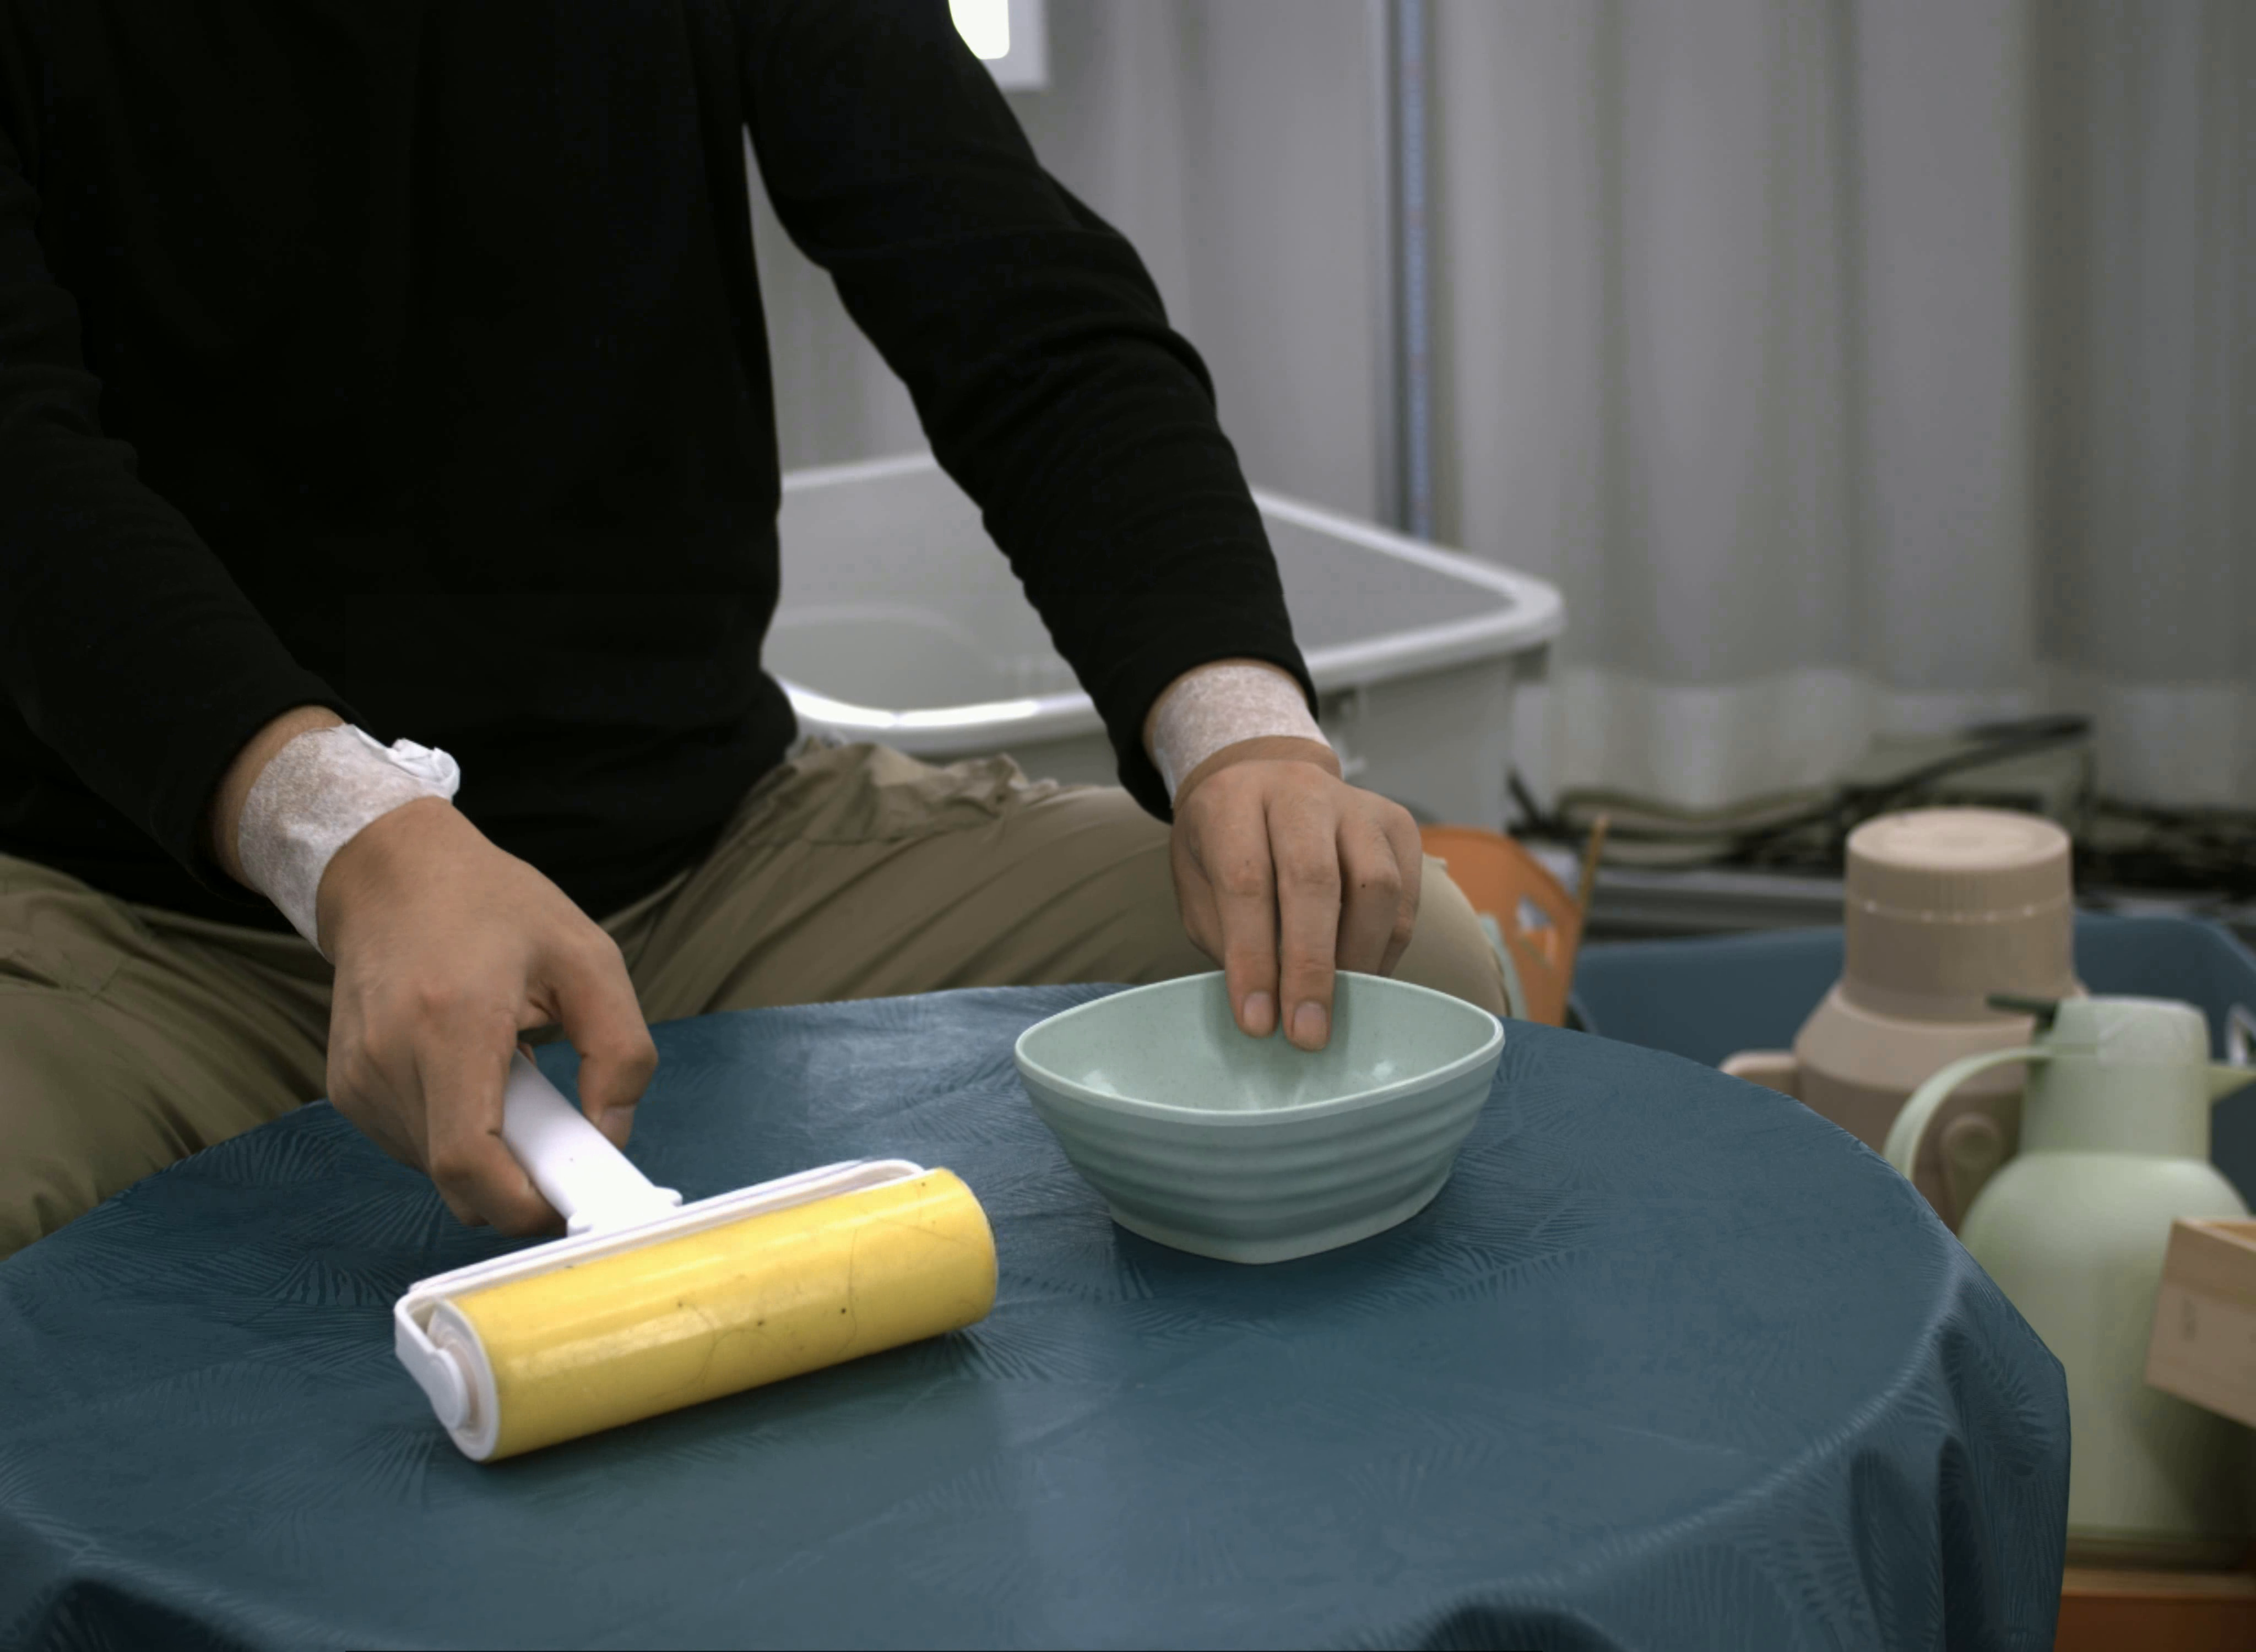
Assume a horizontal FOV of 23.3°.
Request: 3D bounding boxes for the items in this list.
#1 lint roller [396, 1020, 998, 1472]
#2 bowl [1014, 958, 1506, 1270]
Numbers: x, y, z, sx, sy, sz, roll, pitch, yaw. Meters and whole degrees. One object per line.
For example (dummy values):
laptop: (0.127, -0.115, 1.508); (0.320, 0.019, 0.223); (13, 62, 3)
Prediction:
lint roller: (-0.156, 0.101, 1.599); (0.174, 0.051, 0.194); (-14, 42, -31)
bowl: (0.041, 0.092, 1.682); (0.151, 0.058, 0.152); (-2, 17, 0)
